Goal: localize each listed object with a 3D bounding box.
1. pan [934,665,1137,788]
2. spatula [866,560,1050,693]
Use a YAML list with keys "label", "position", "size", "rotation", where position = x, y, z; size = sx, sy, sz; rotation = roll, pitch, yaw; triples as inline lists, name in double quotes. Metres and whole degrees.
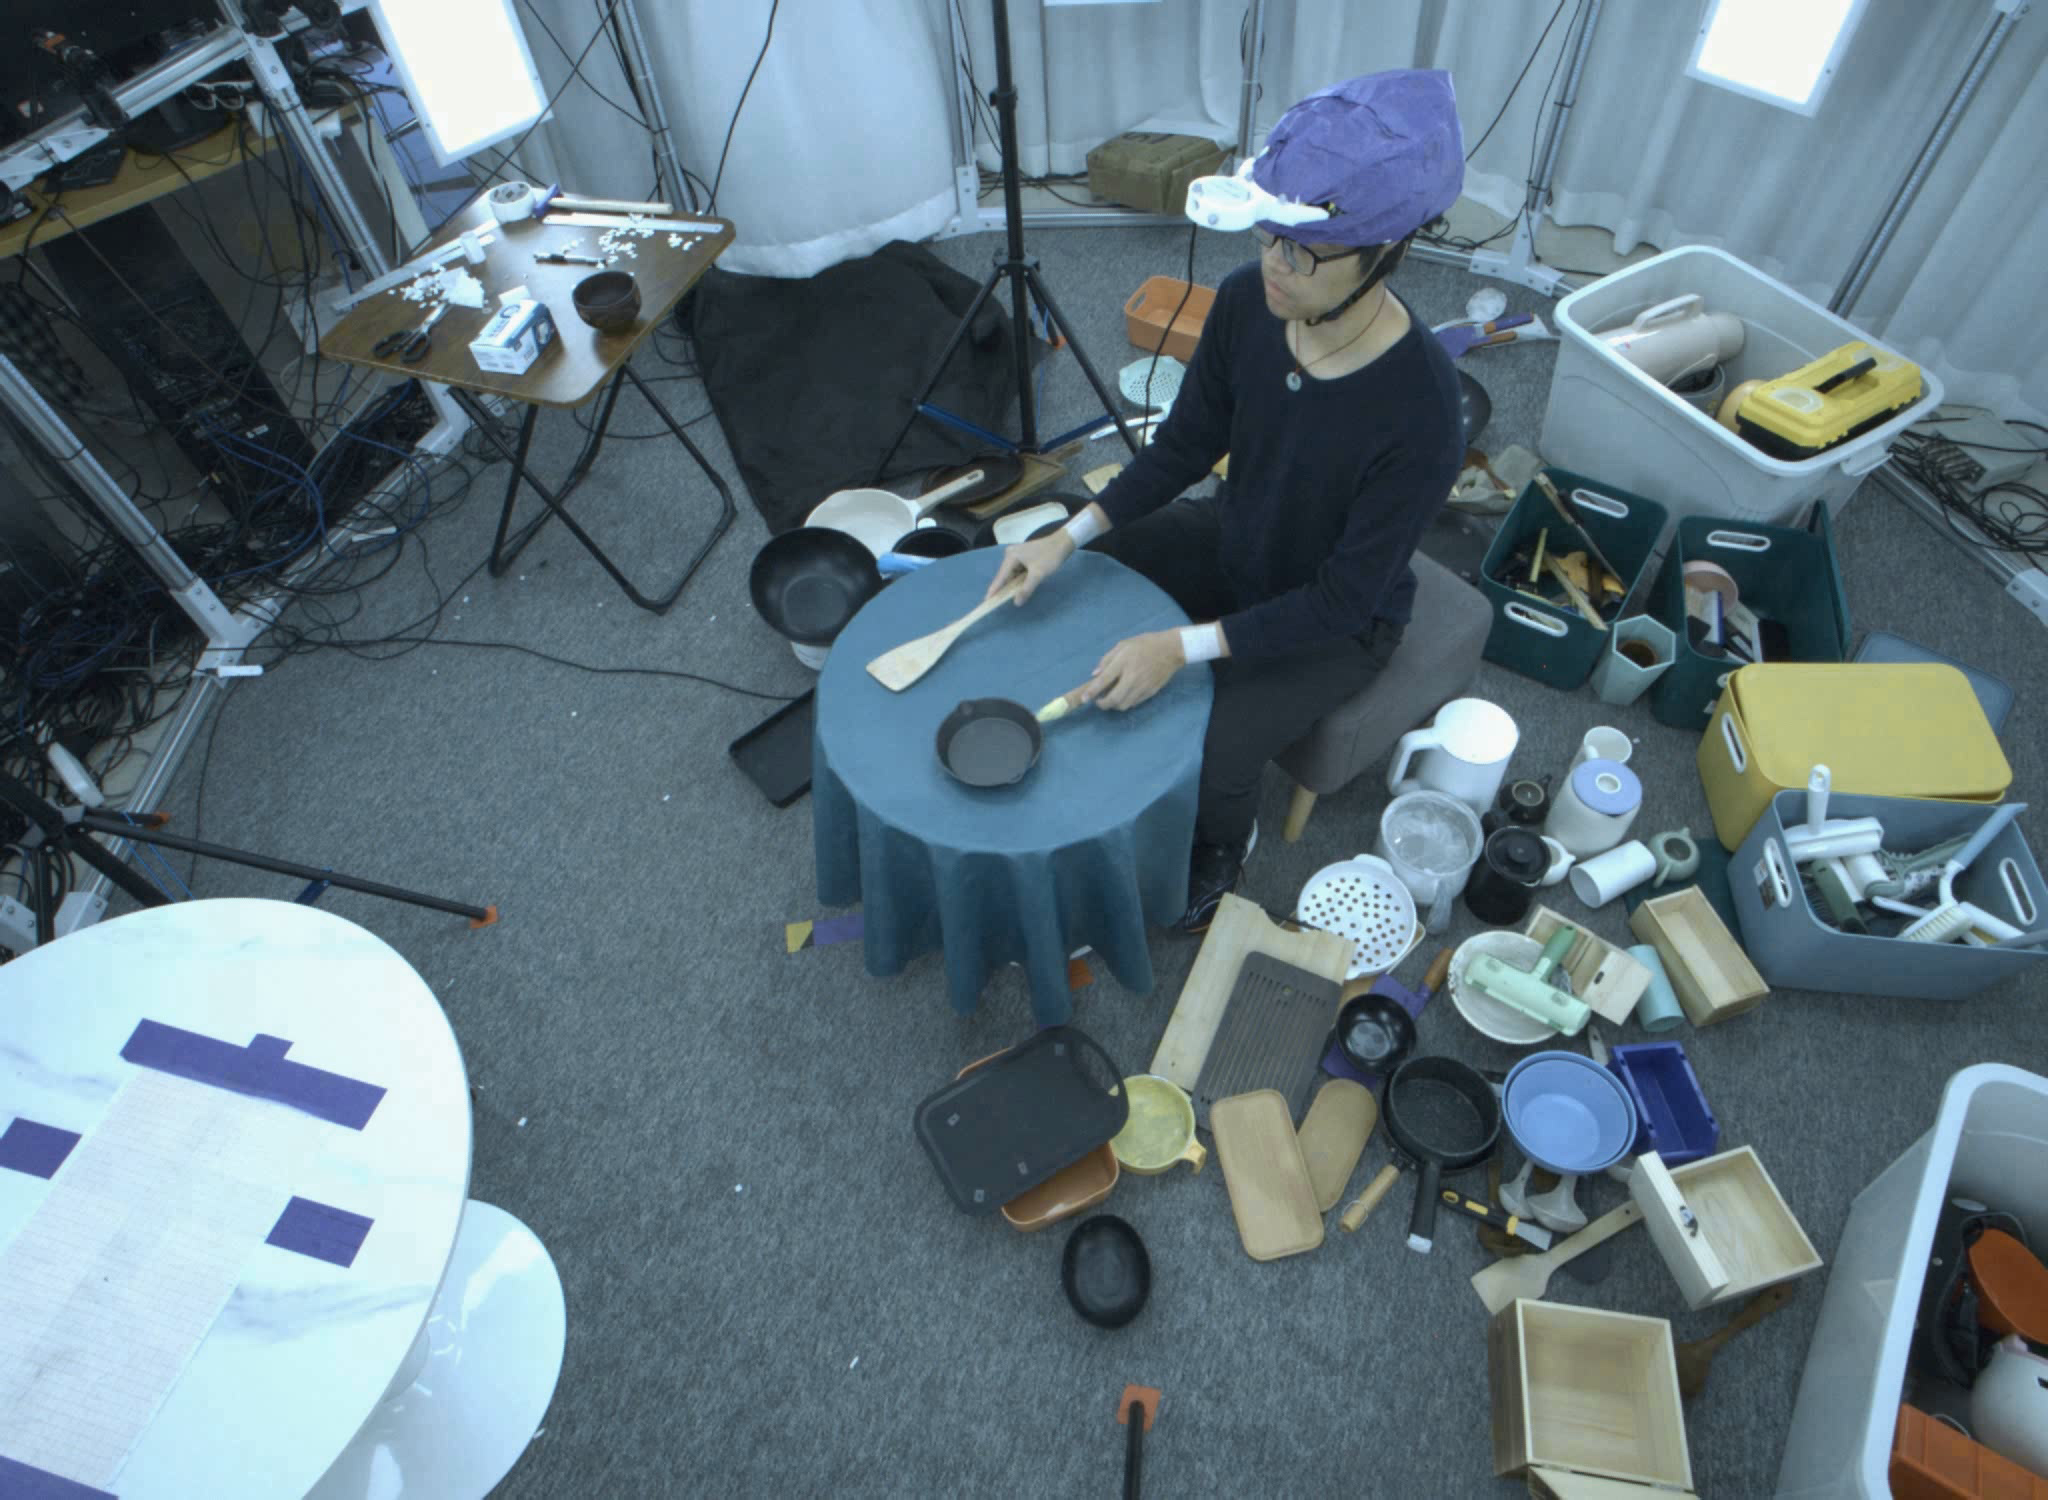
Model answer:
- label: "pan"
  position: [0.024, -0.045, 1.787]
  size: [0.326, 0.050, 0.166]
  rotation: [-25, 57, -13]
- label: "spatula"
  position: [-0.093, -0.197, 1.889]
  size: [0.328, 0.017, 0.078]
  rotation: [-37, 62, -8]
